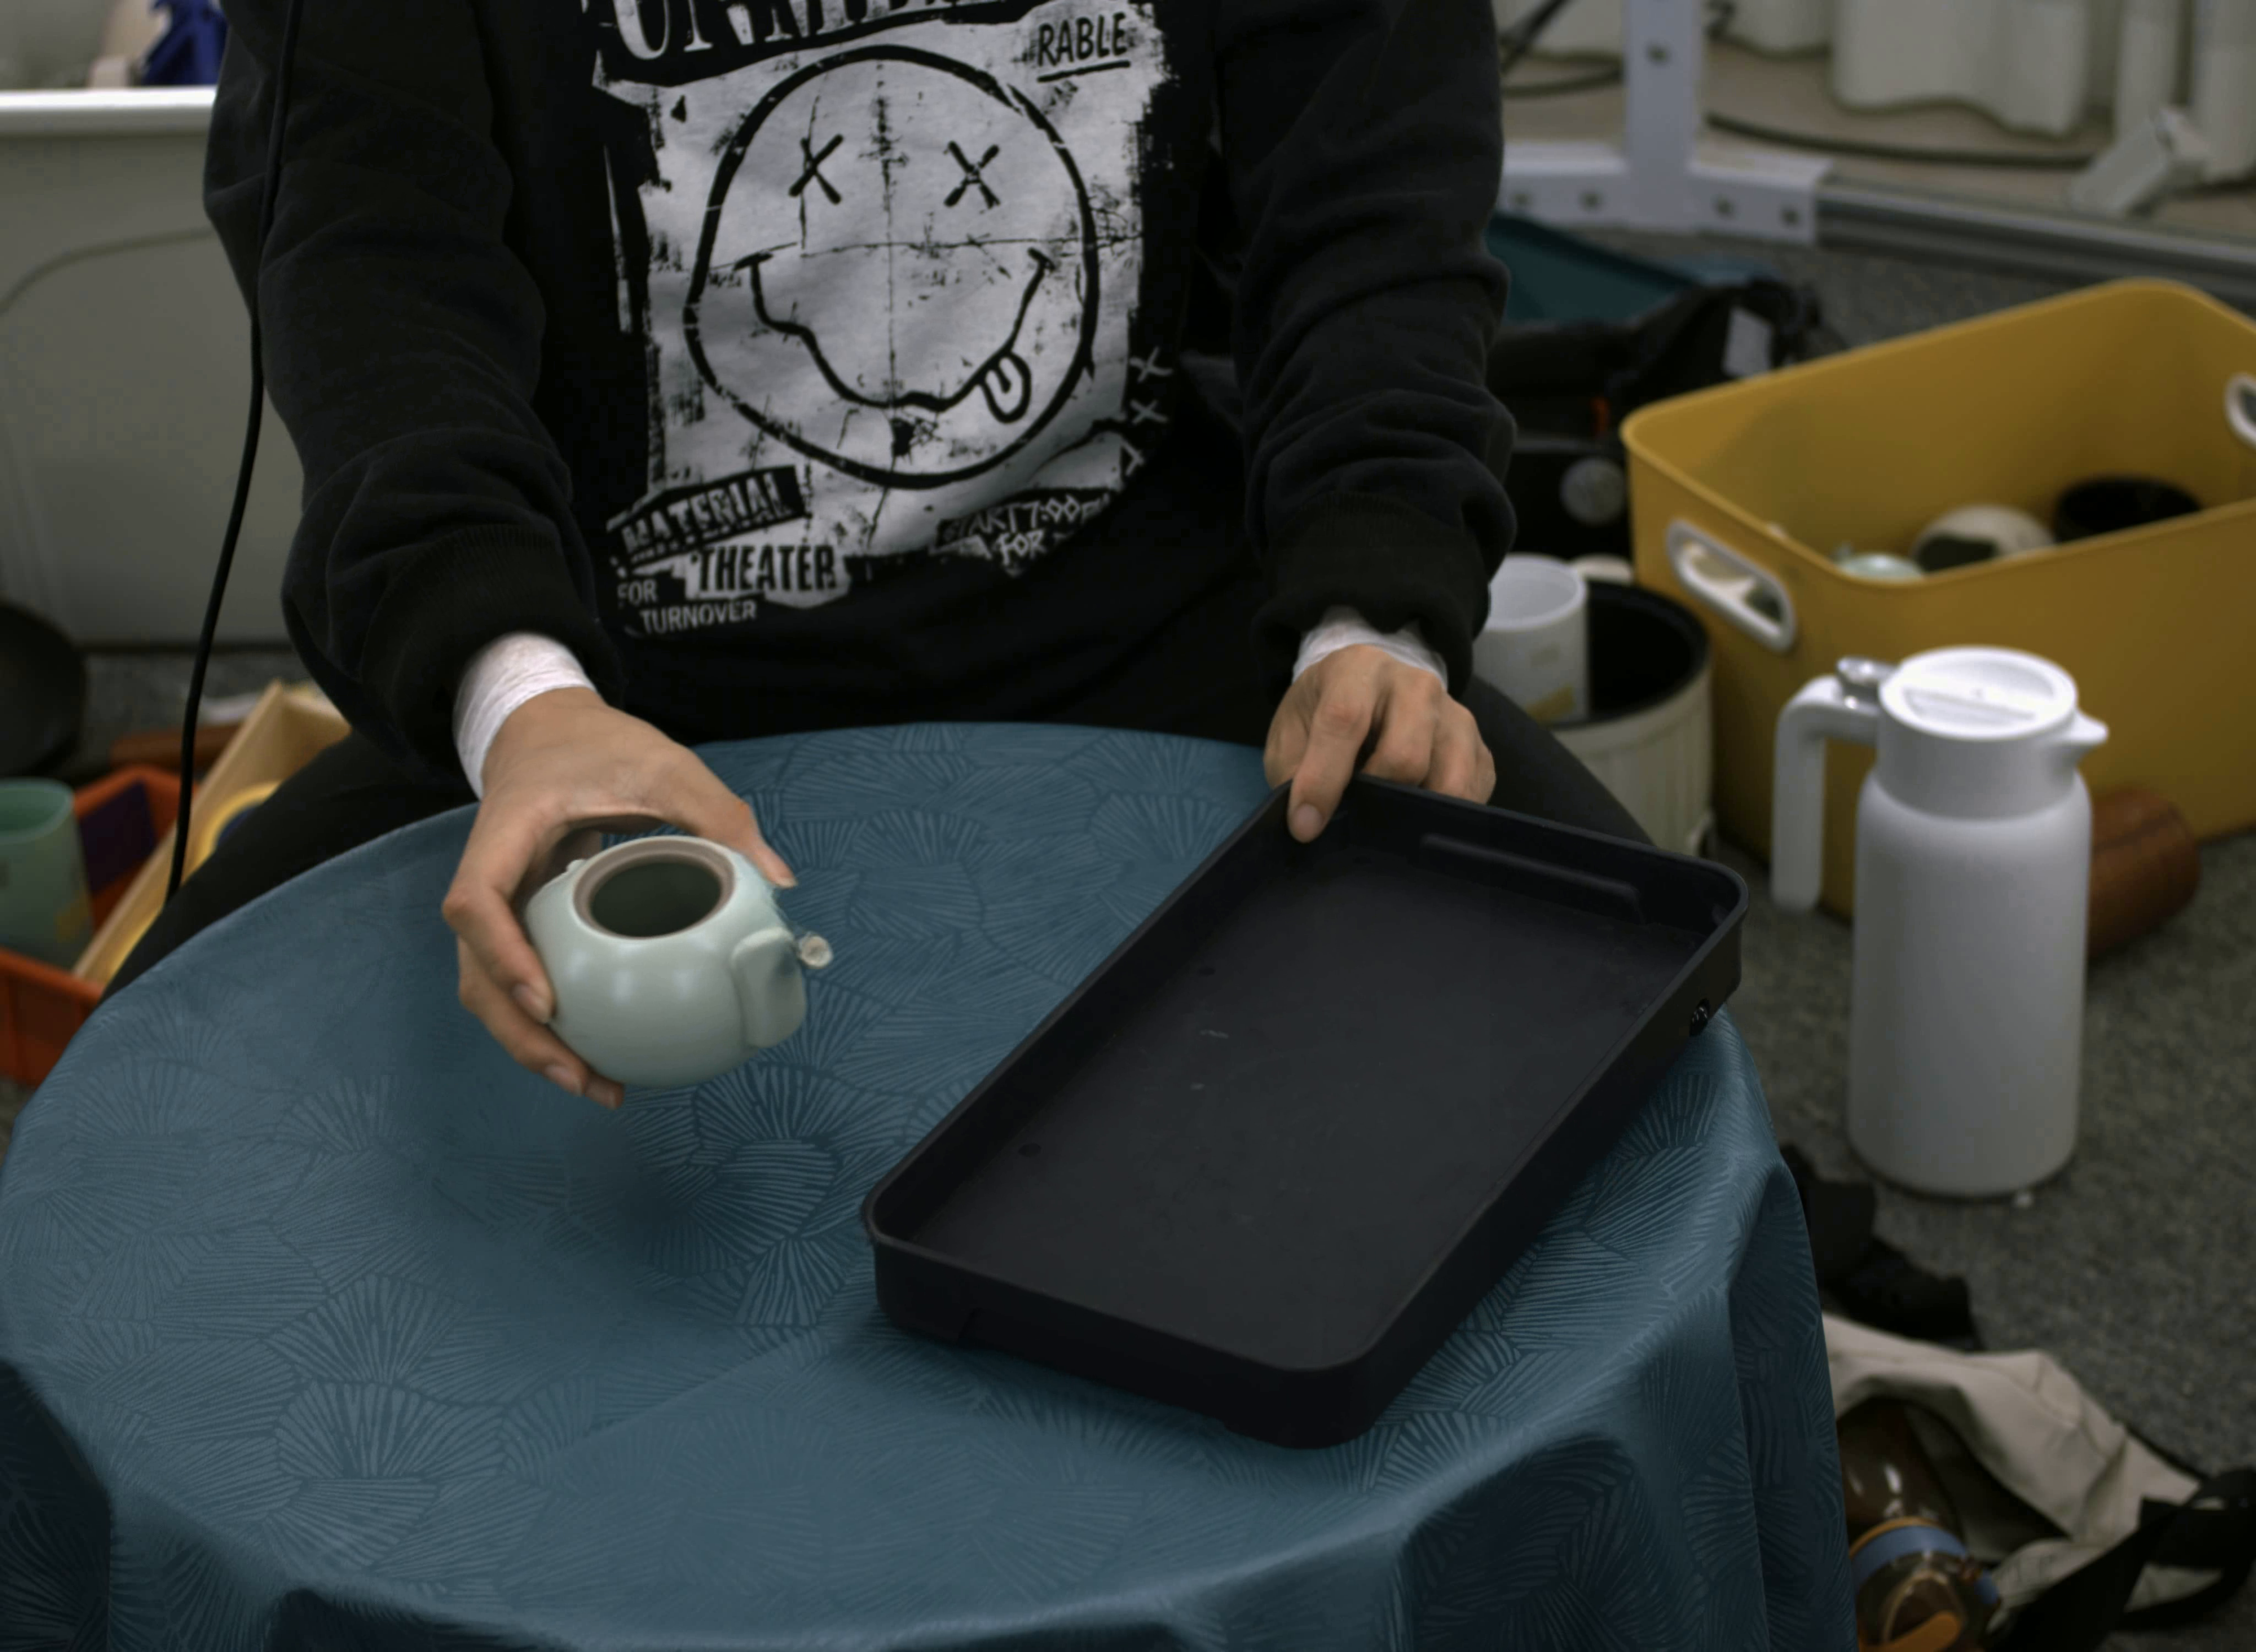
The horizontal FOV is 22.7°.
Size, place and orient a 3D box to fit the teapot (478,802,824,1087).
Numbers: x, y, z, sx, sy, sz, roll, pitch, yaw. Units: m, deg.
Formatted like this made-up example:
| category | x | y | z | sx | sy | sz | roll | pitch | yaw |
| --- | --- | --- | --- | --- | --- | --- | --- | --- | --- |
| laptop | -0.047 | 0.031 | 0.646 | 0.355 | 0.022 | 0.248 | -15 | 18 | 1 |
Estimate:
| category | x | y | z | sx | sy | sz | roll | pitch | yaw |
| --- | --- | --- | --- | --- | --- | --- | --- | --- | --- |
| teapot | -0.153 | 0.043 | 1.831 | 0.143 | 0.074 | 0.090 | 23 | 44 | 31 |

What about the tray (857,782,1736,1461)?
| category | x | y | z | sx | sy | sz | roll | pitch | yaw |
| --- | --- | --- | --- | --- | --- | --- | --- | --- | --- |
| tray | 0.061 | 0.090 | 1.854 | 0.183 | 0.036 | 0.323 | 14 | 34 | 24 |
